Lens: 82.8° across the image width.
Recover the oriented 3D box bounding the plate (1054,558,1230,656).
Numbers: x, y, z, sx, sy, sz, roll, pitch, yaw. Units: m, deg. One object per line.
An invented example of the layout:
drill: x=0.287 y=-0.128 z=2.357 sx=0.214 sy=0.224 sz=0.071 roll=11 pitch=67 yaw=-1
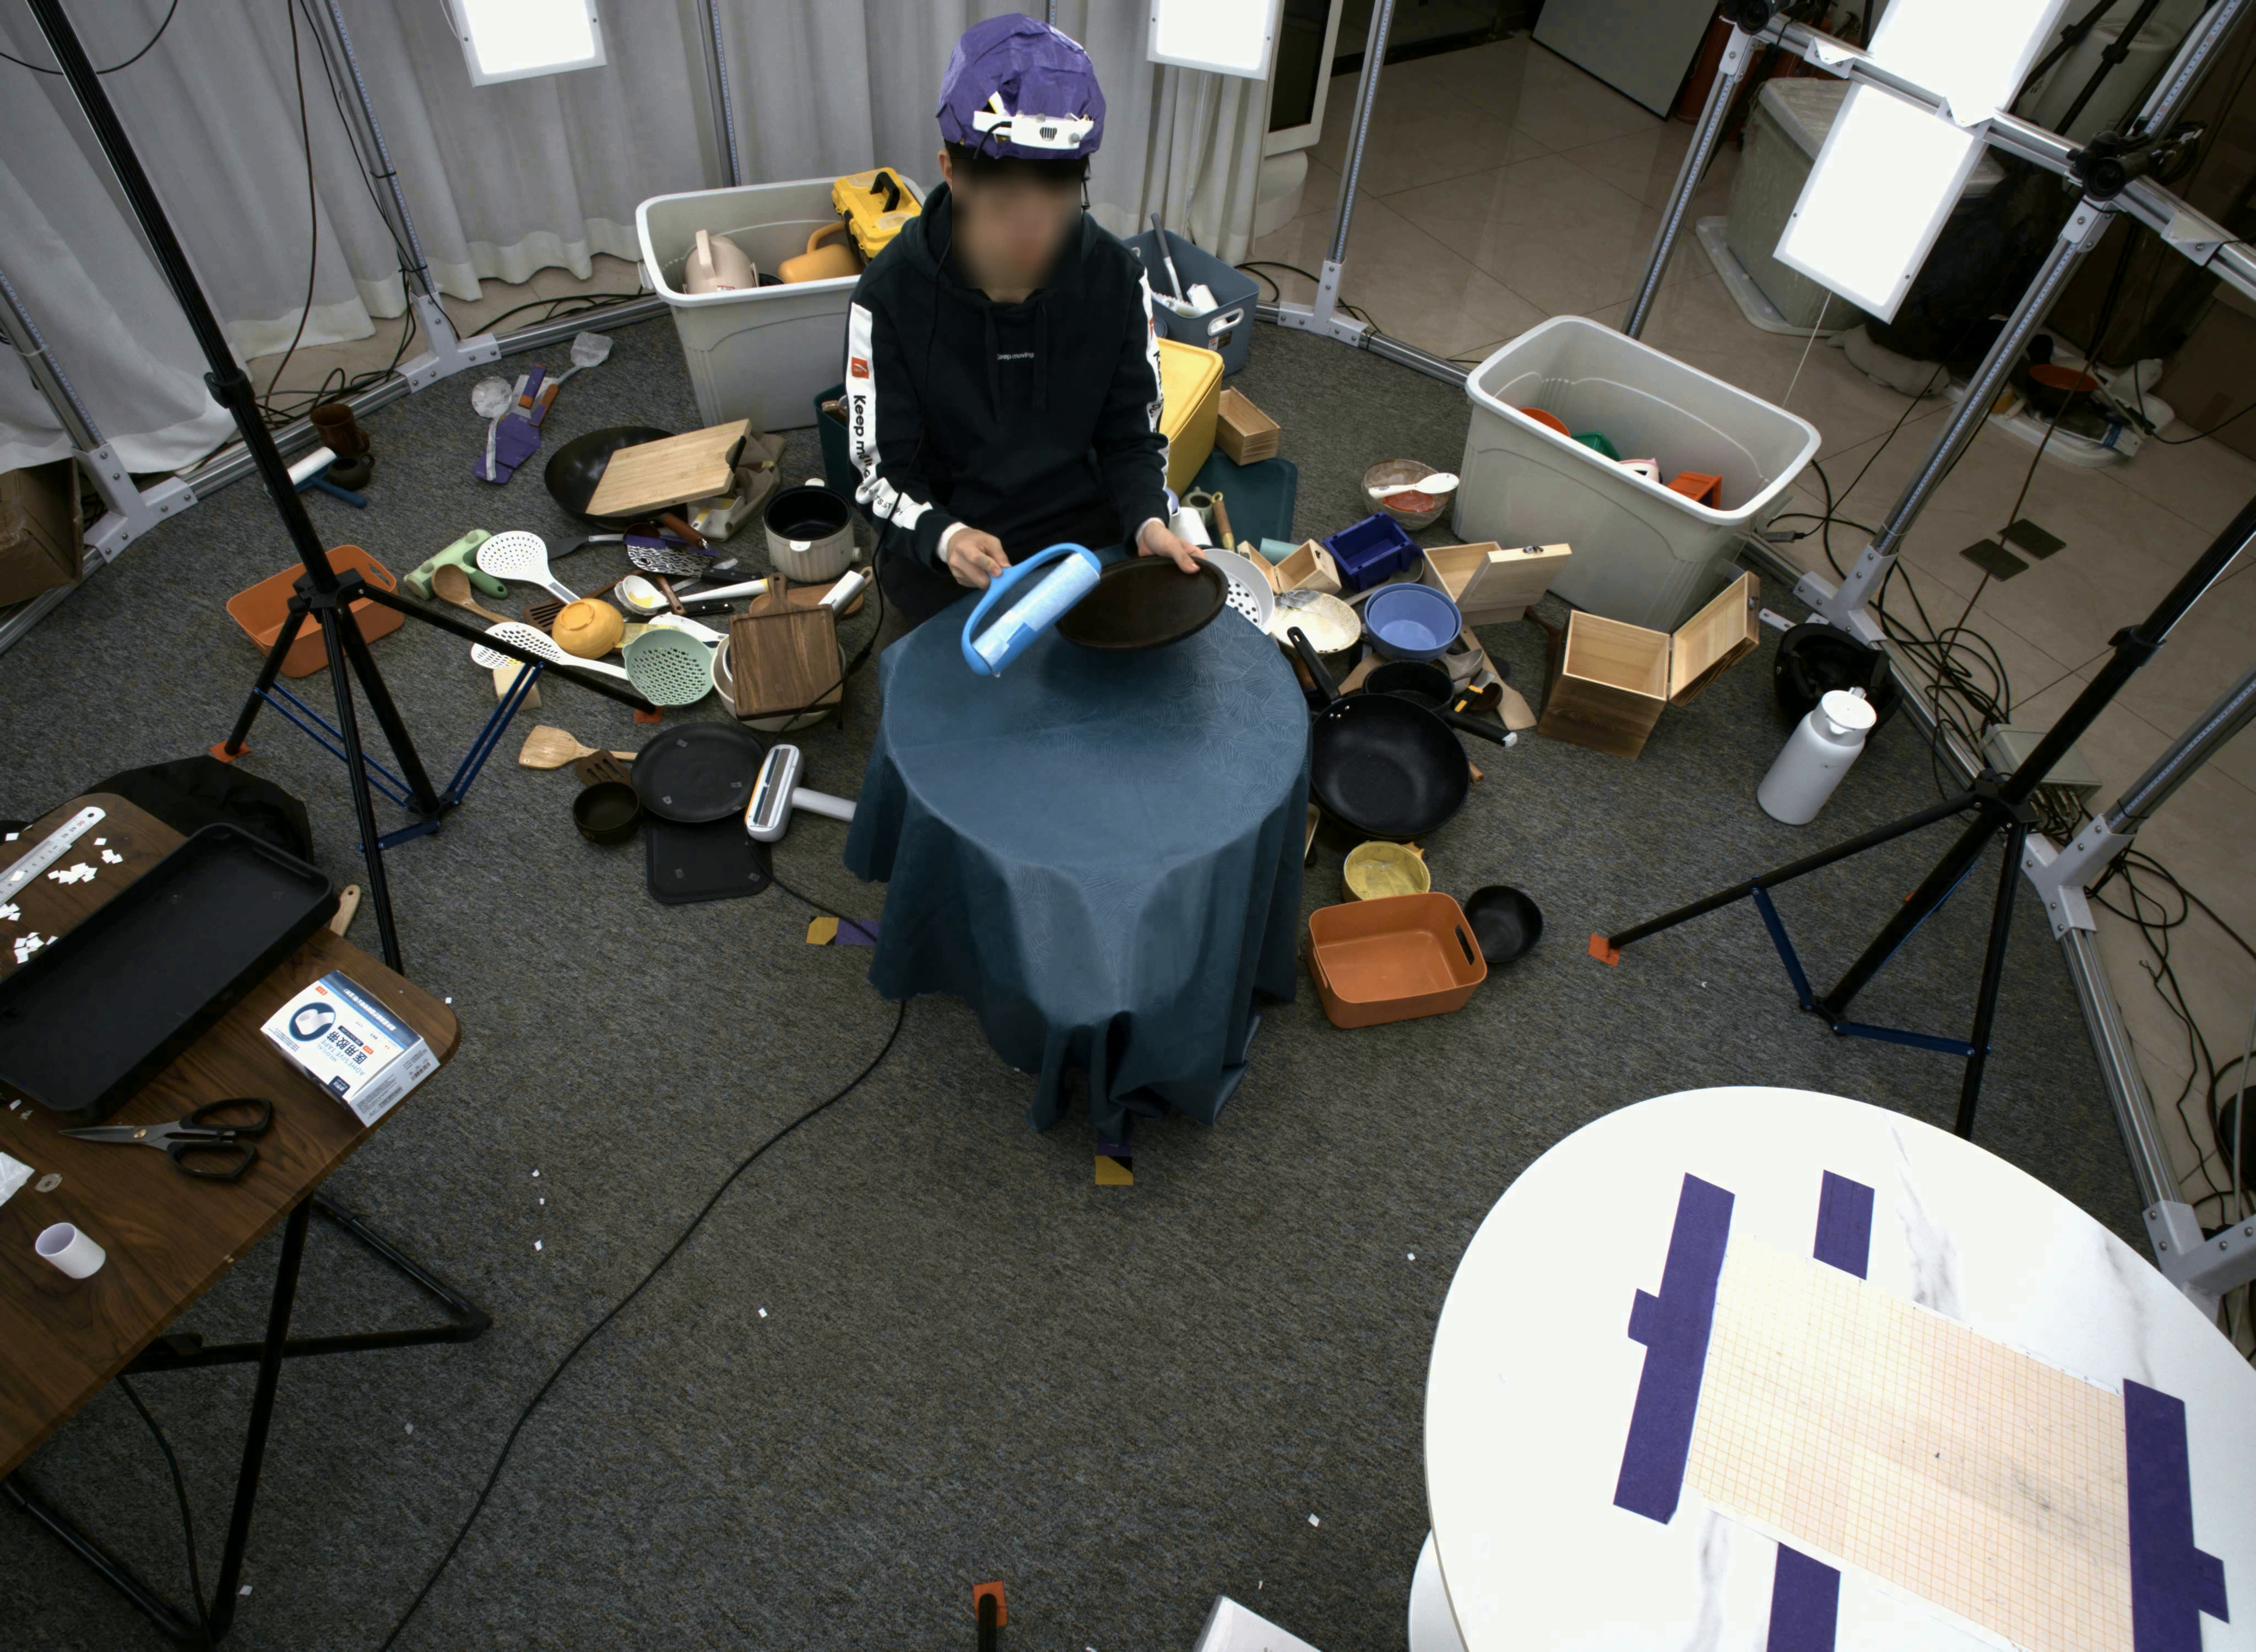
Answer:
plate: x=0.020 y=-0.313 z=1.821 sx=0.255 sy=0.028 sz=0.261 roll=-8 pitch=38 yaw=6

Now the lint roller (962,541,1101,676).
lint roller: x=-0.166 y=-0.323 z=1.763 sx=0.230 sy=0.066 sz=0.183 roll=-46 pitch=63 yaw=-7
